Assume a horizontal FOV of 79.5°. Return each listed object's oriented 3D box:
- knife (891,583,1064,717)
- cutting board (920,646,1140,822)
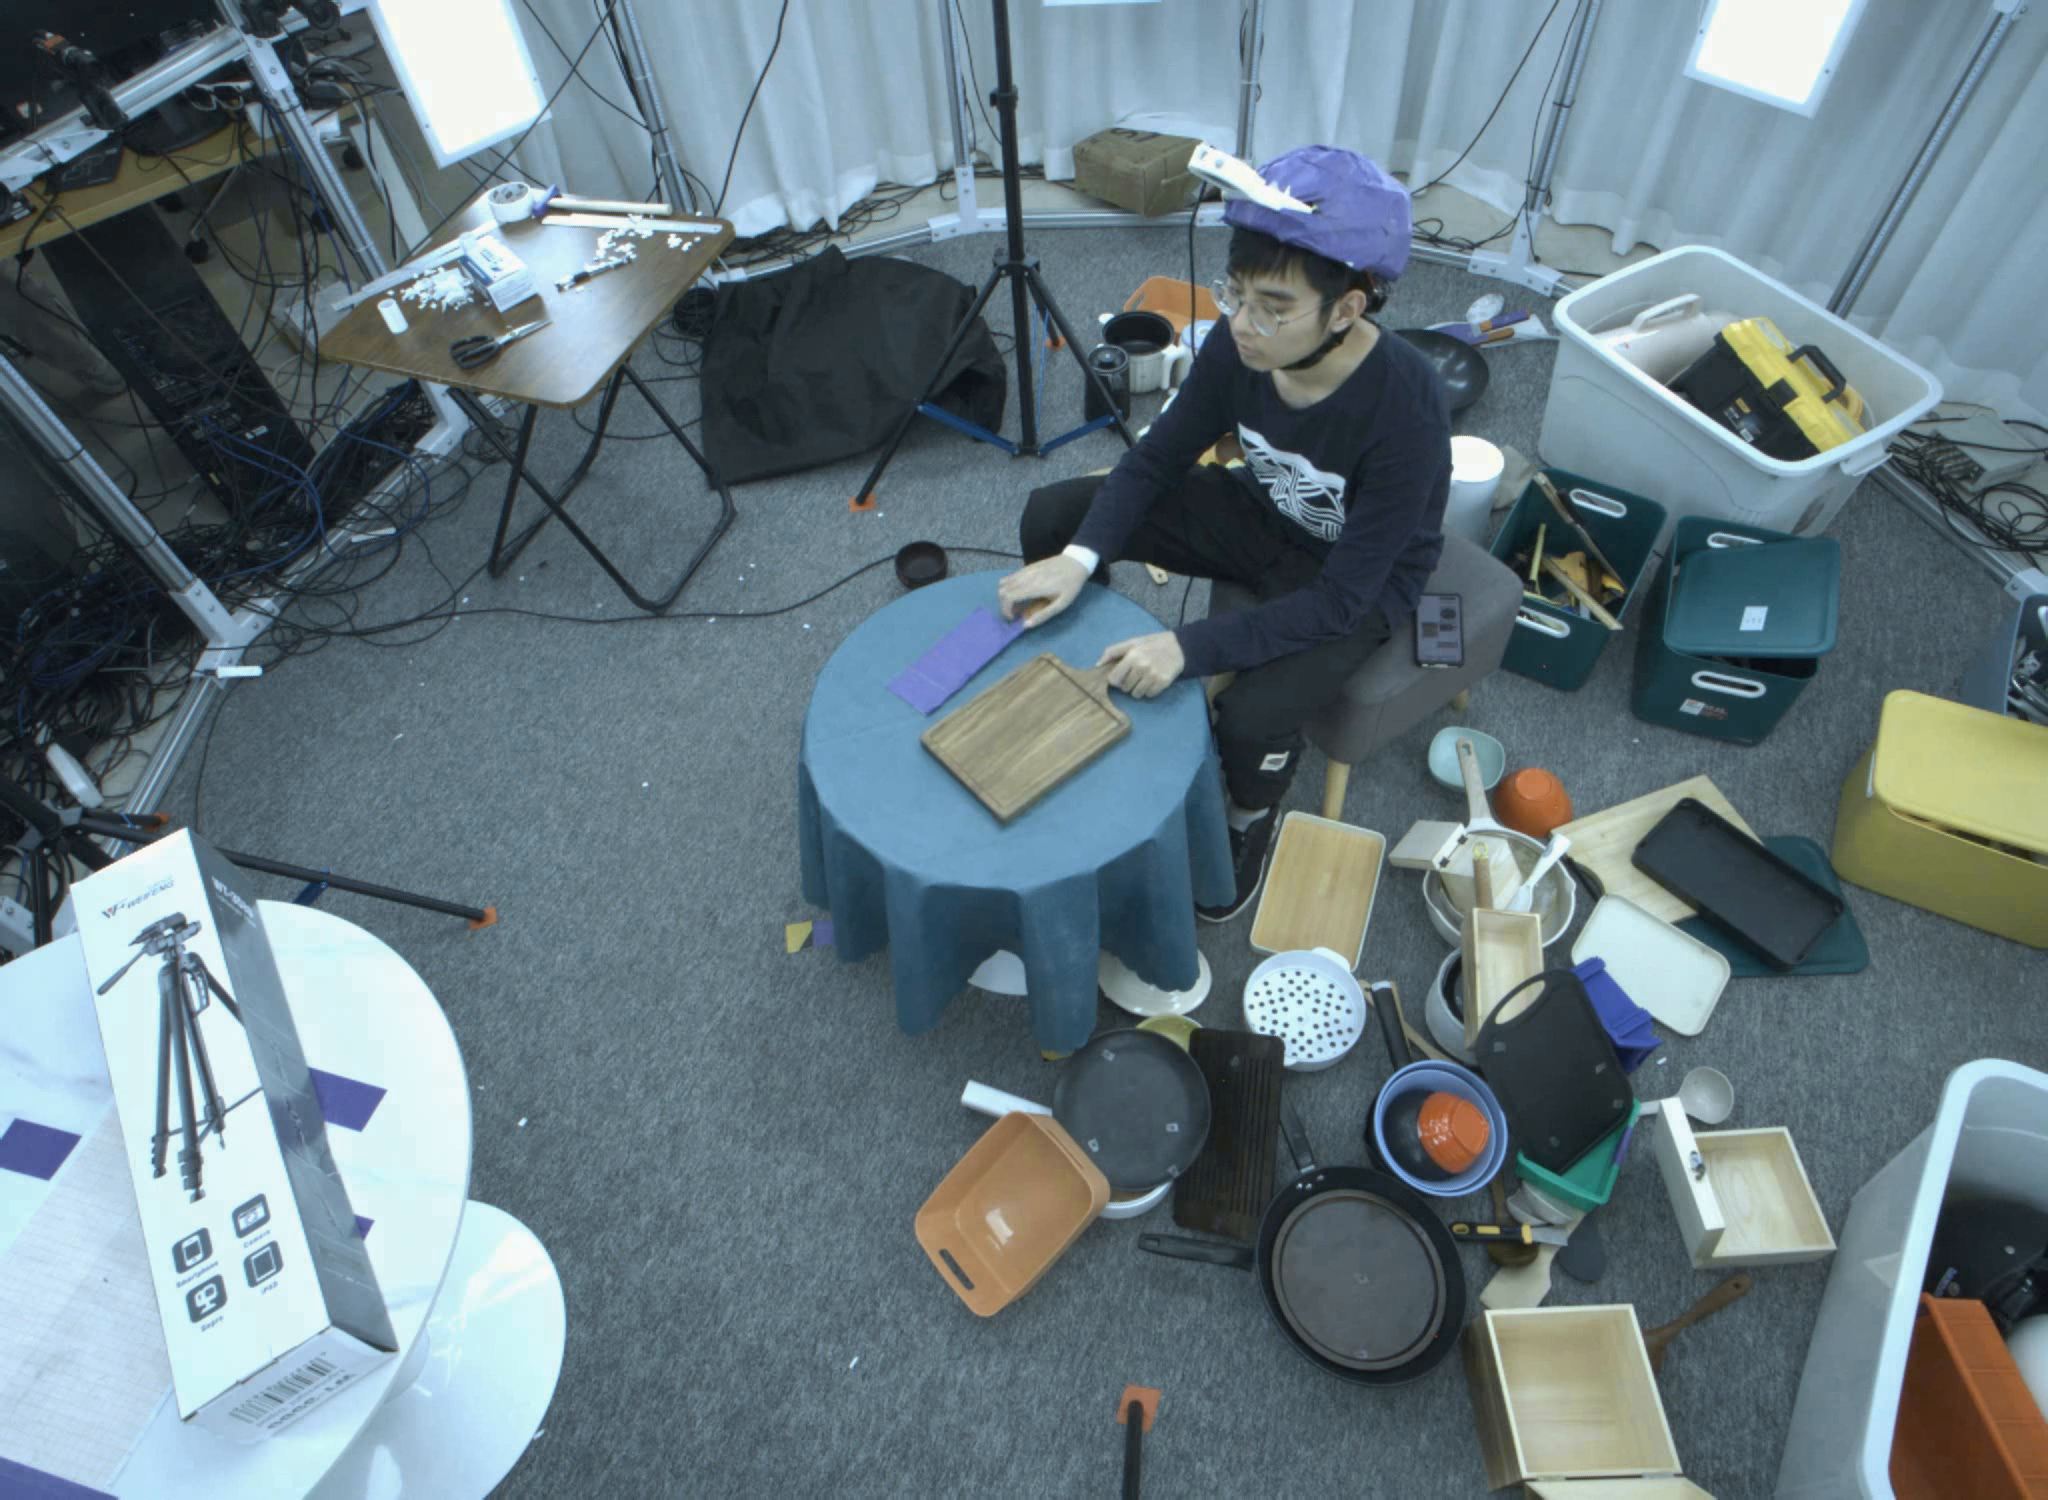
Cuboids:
[{"bbox_3d":[-0.074,-0.174,1.905,0.102,0.032,0.317,35,63,24],"label":"knife"},{"bbox_3d":[0.040,-0.053,1.819,0.355,0.023,0.197,-36,61,-22],"label":"cutting board"}]
